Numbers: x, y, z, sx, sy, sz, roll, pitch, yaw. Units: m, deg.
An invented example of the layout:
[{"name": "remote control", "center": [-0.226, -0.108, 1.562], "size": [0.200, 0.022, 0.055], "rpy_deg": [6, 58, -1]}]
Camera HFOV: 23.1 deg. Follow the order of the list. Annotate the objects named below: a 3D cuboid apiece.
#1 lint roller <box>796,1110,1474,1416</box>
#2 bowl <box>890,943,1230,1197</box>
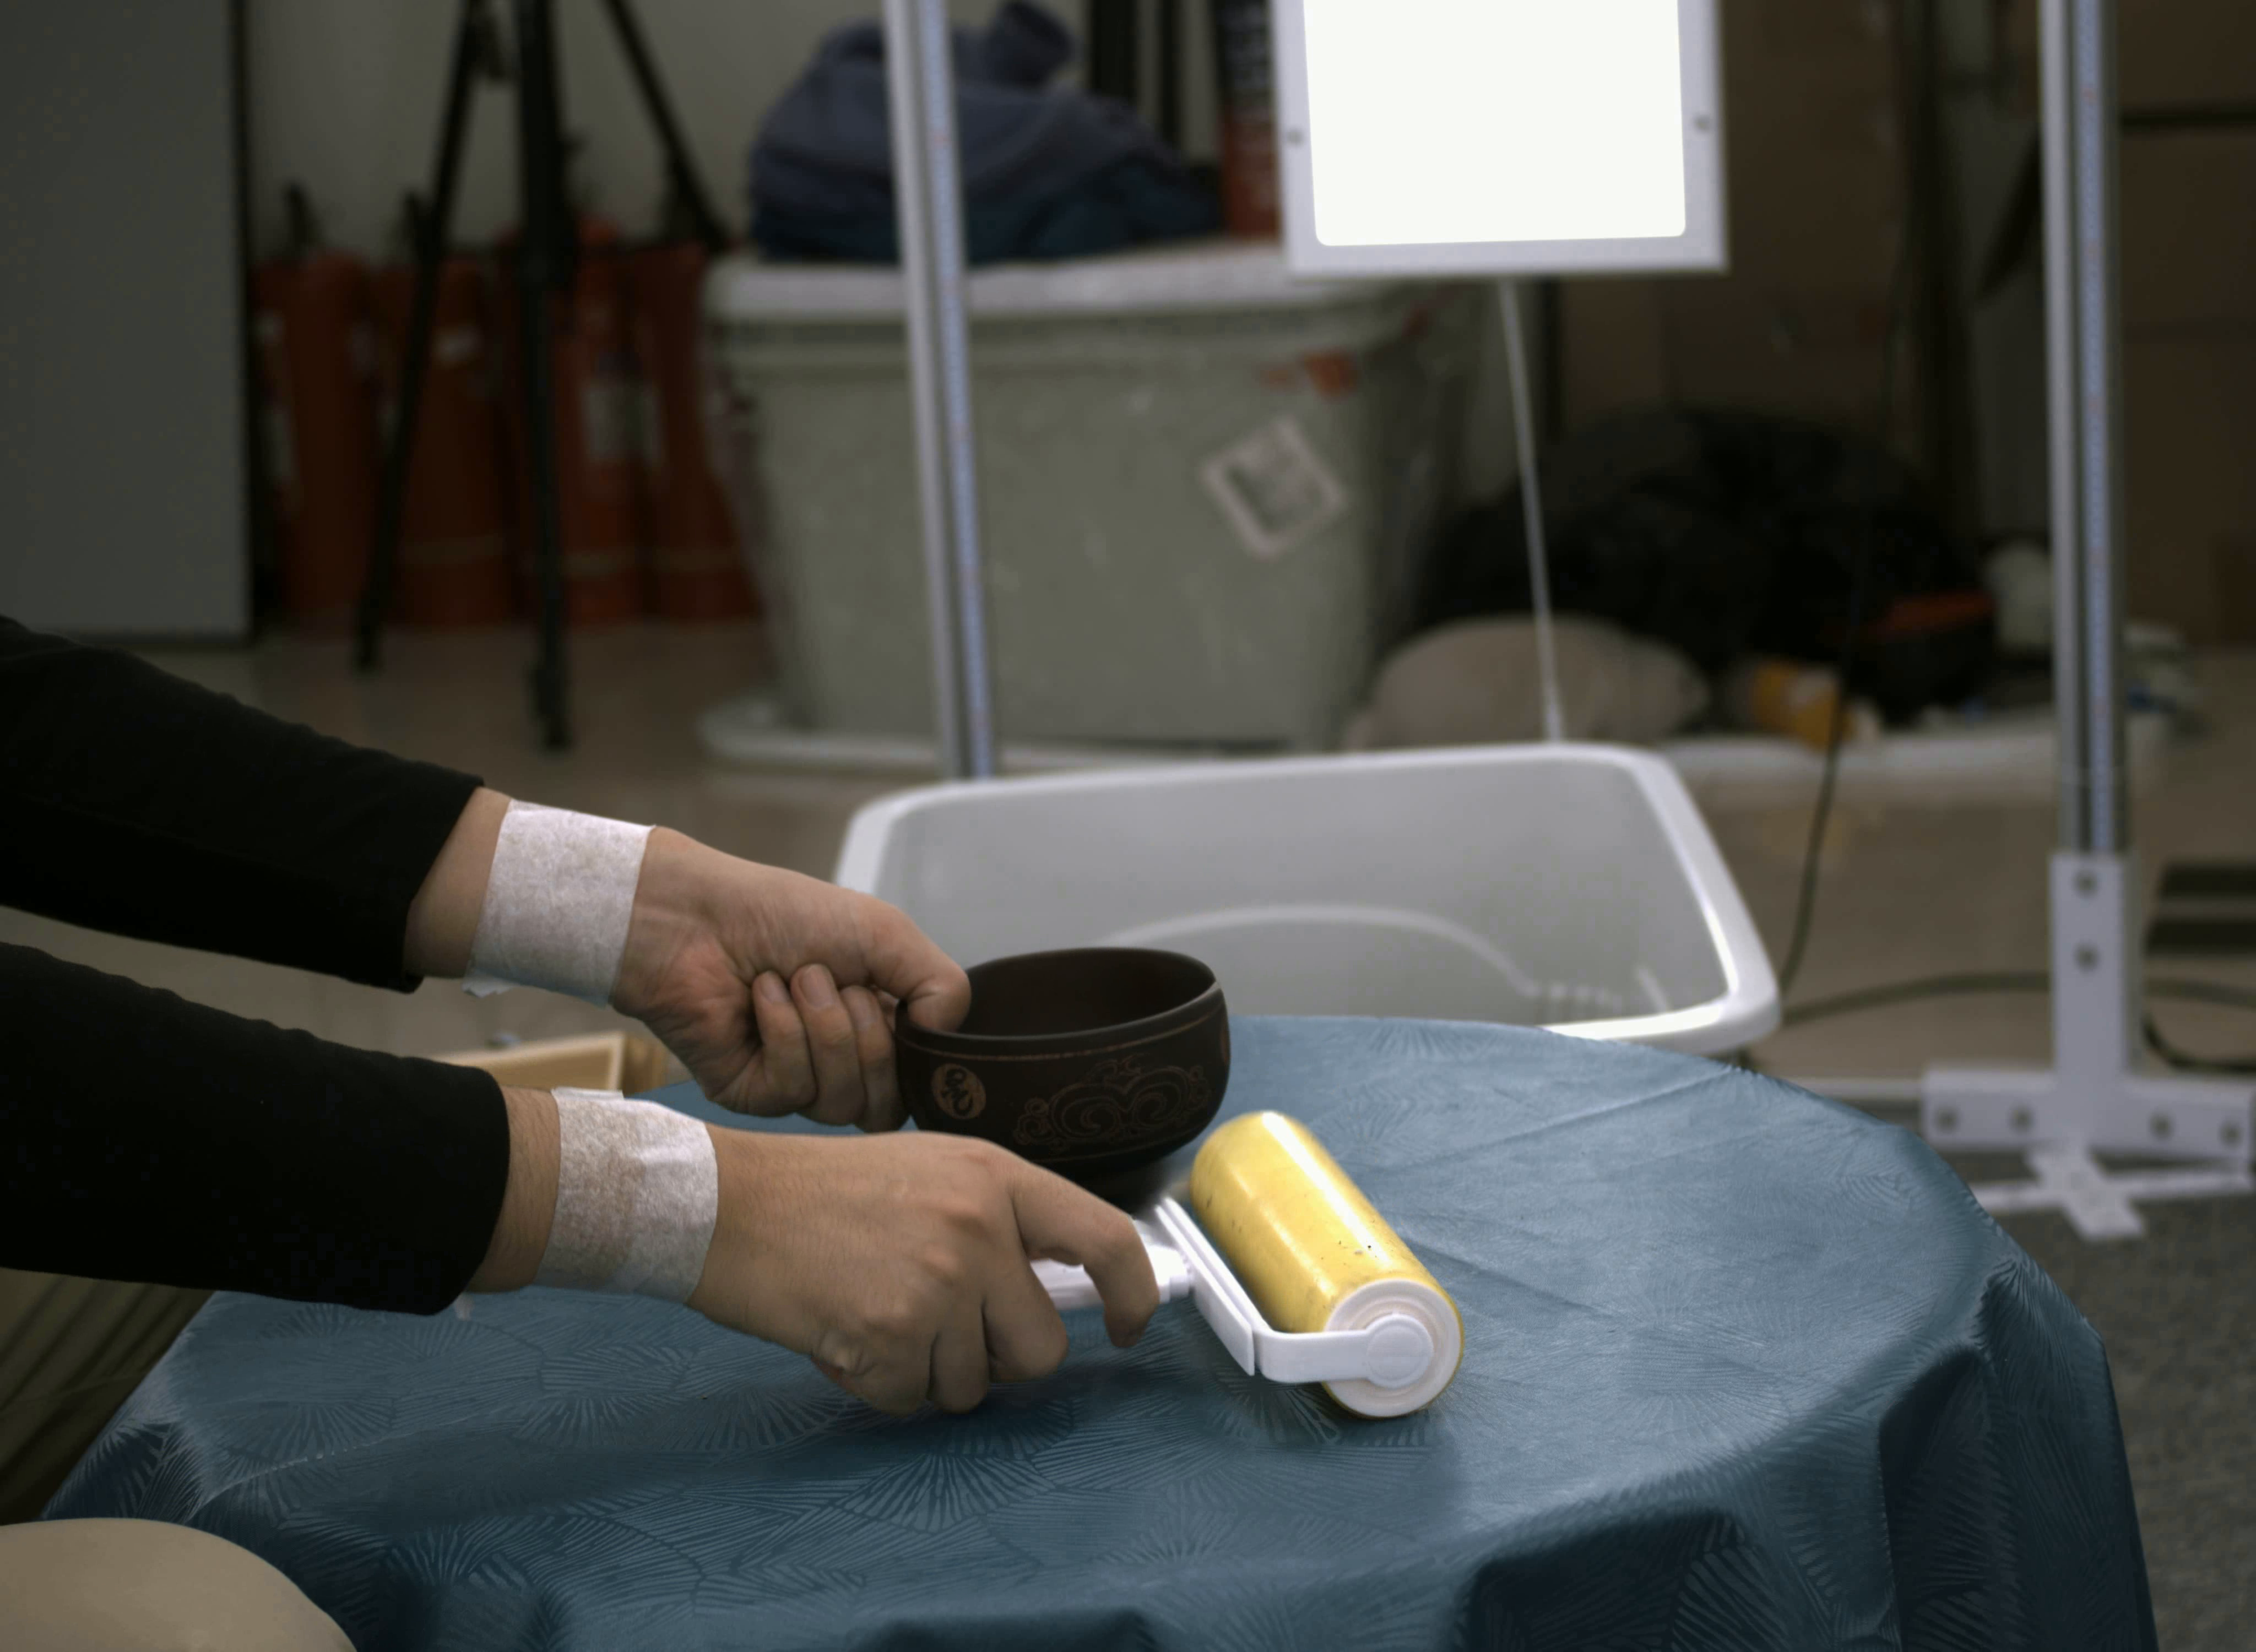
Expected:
[{"name": "lint roller", "center": [-0.007, 0.131, 1.707], "size": [0.189, 0.052, 0.175], "rpy_deg": [5, 14, -15]}, {"name": "bowl", "center": [-0.022, 0.088, 1.905], "size": [0.118, 0.070, 0.118], "rpy_deg": [-6, 13, 0]}]
